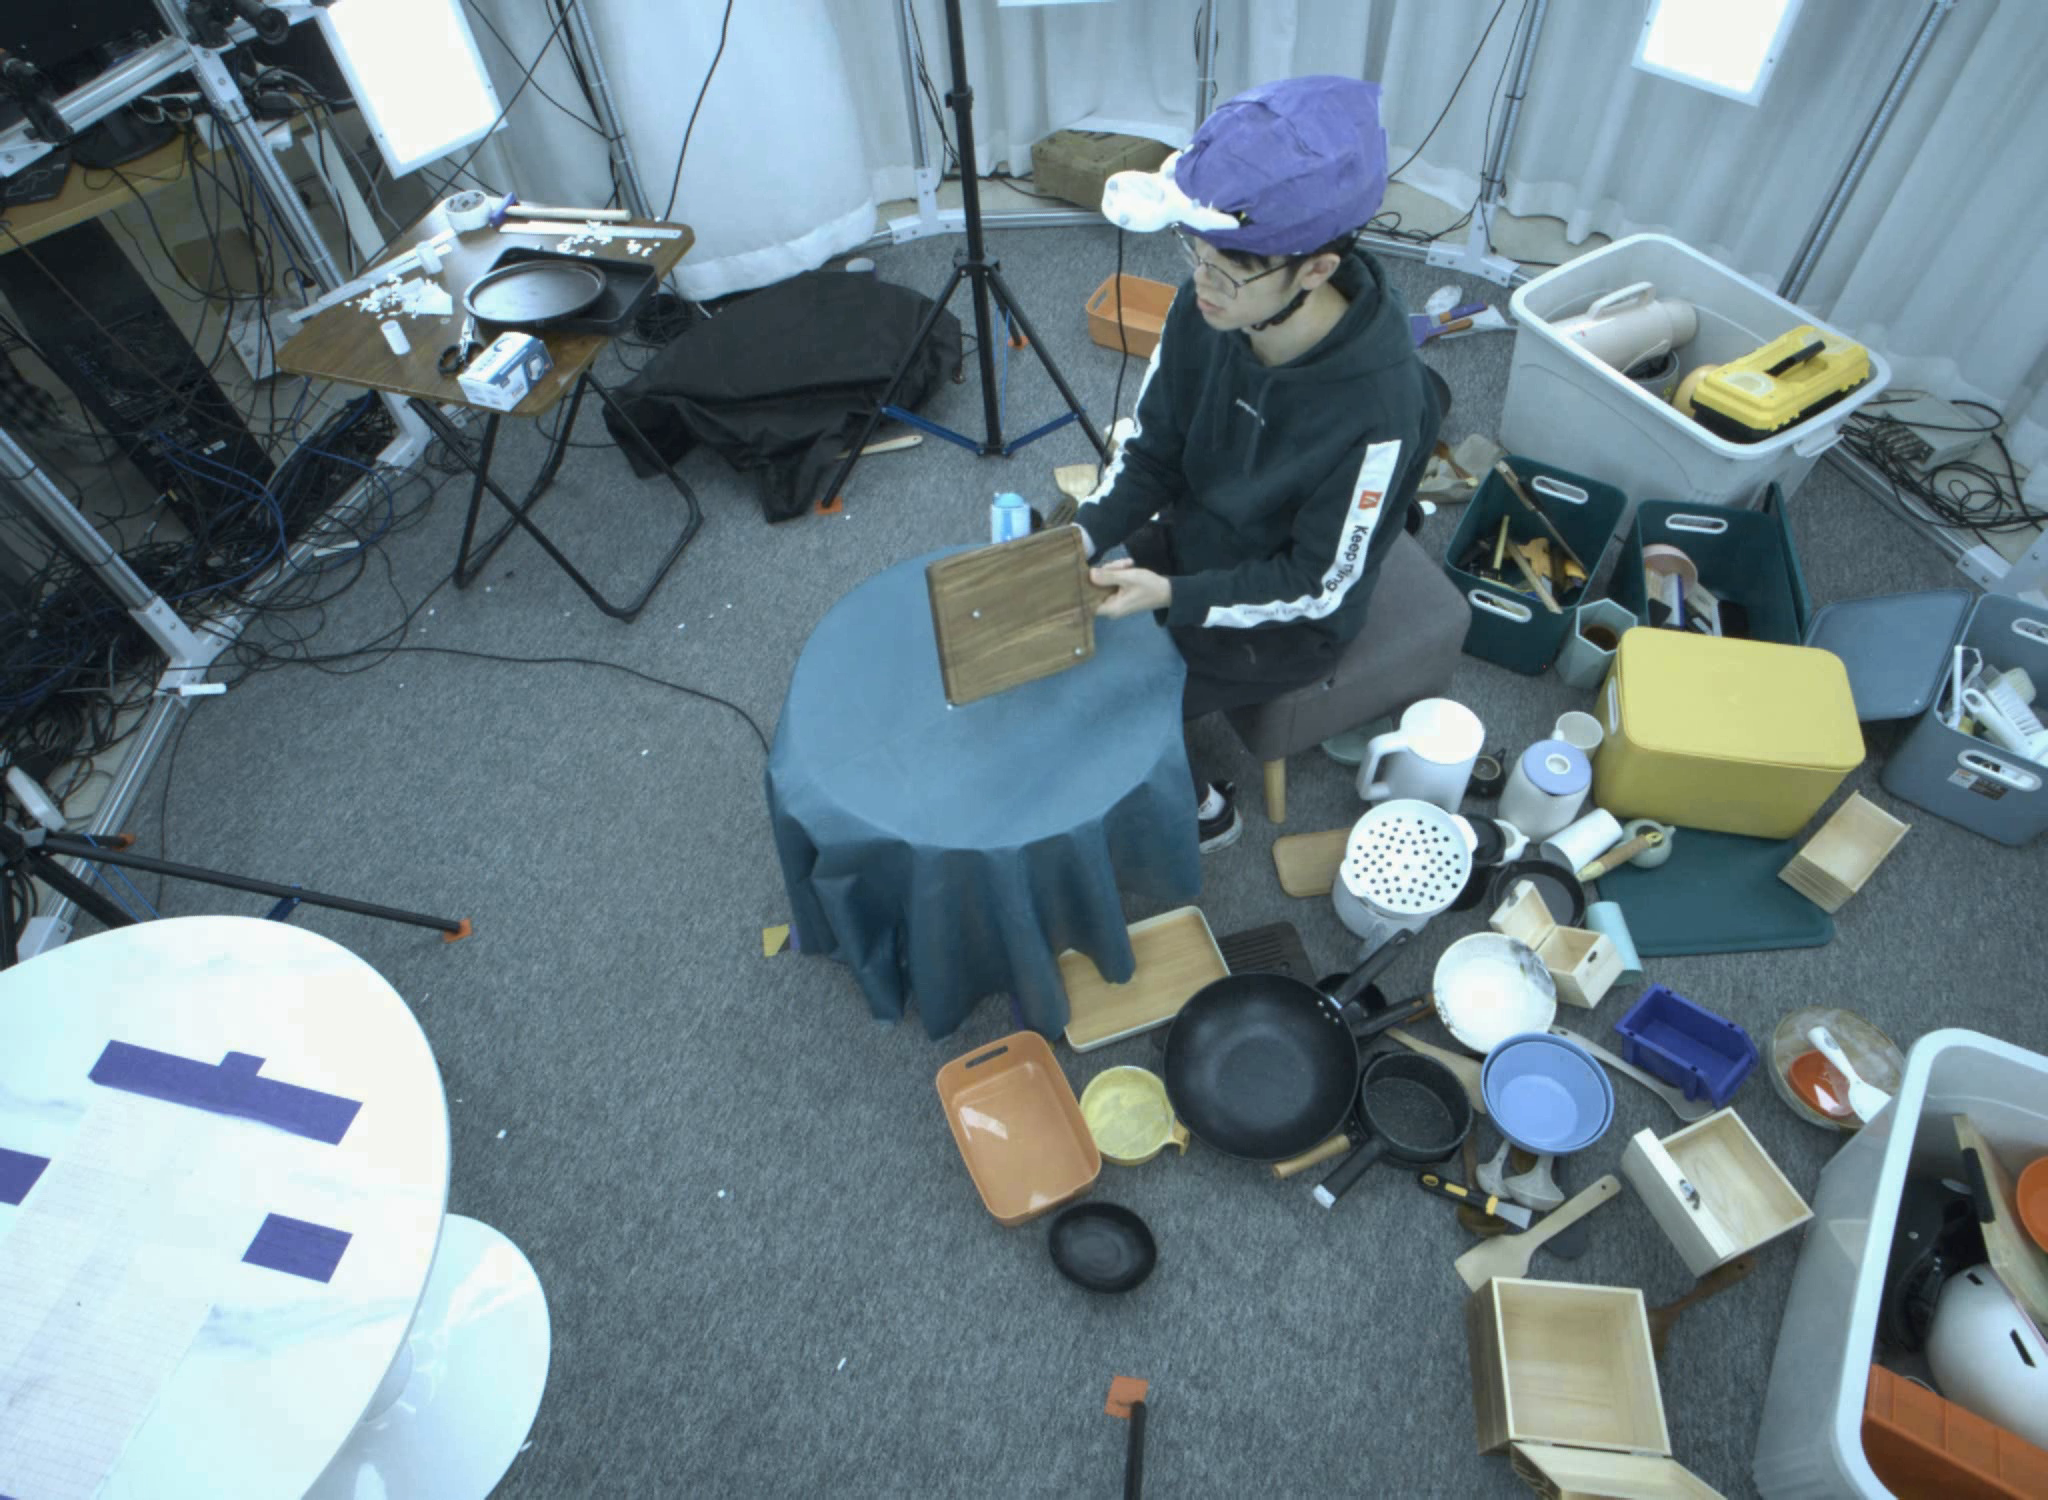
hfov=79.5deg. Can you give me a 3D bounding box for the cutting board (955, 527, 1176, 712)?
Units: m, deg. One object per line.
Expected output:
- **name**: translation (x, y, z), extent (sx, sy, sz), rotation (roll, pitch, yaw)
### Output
- **cutting board**: translation (0.069, -0.193, 1.681), extent (0.357, 0.203, 0.022), rotation (-20, 25, -32)

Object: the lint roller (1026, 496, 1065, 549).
- **lint roller**: translation (0.054, -0.246, 1.737), extent (0.067, 0.230, 0.182), rotation (7, 16, 25)
